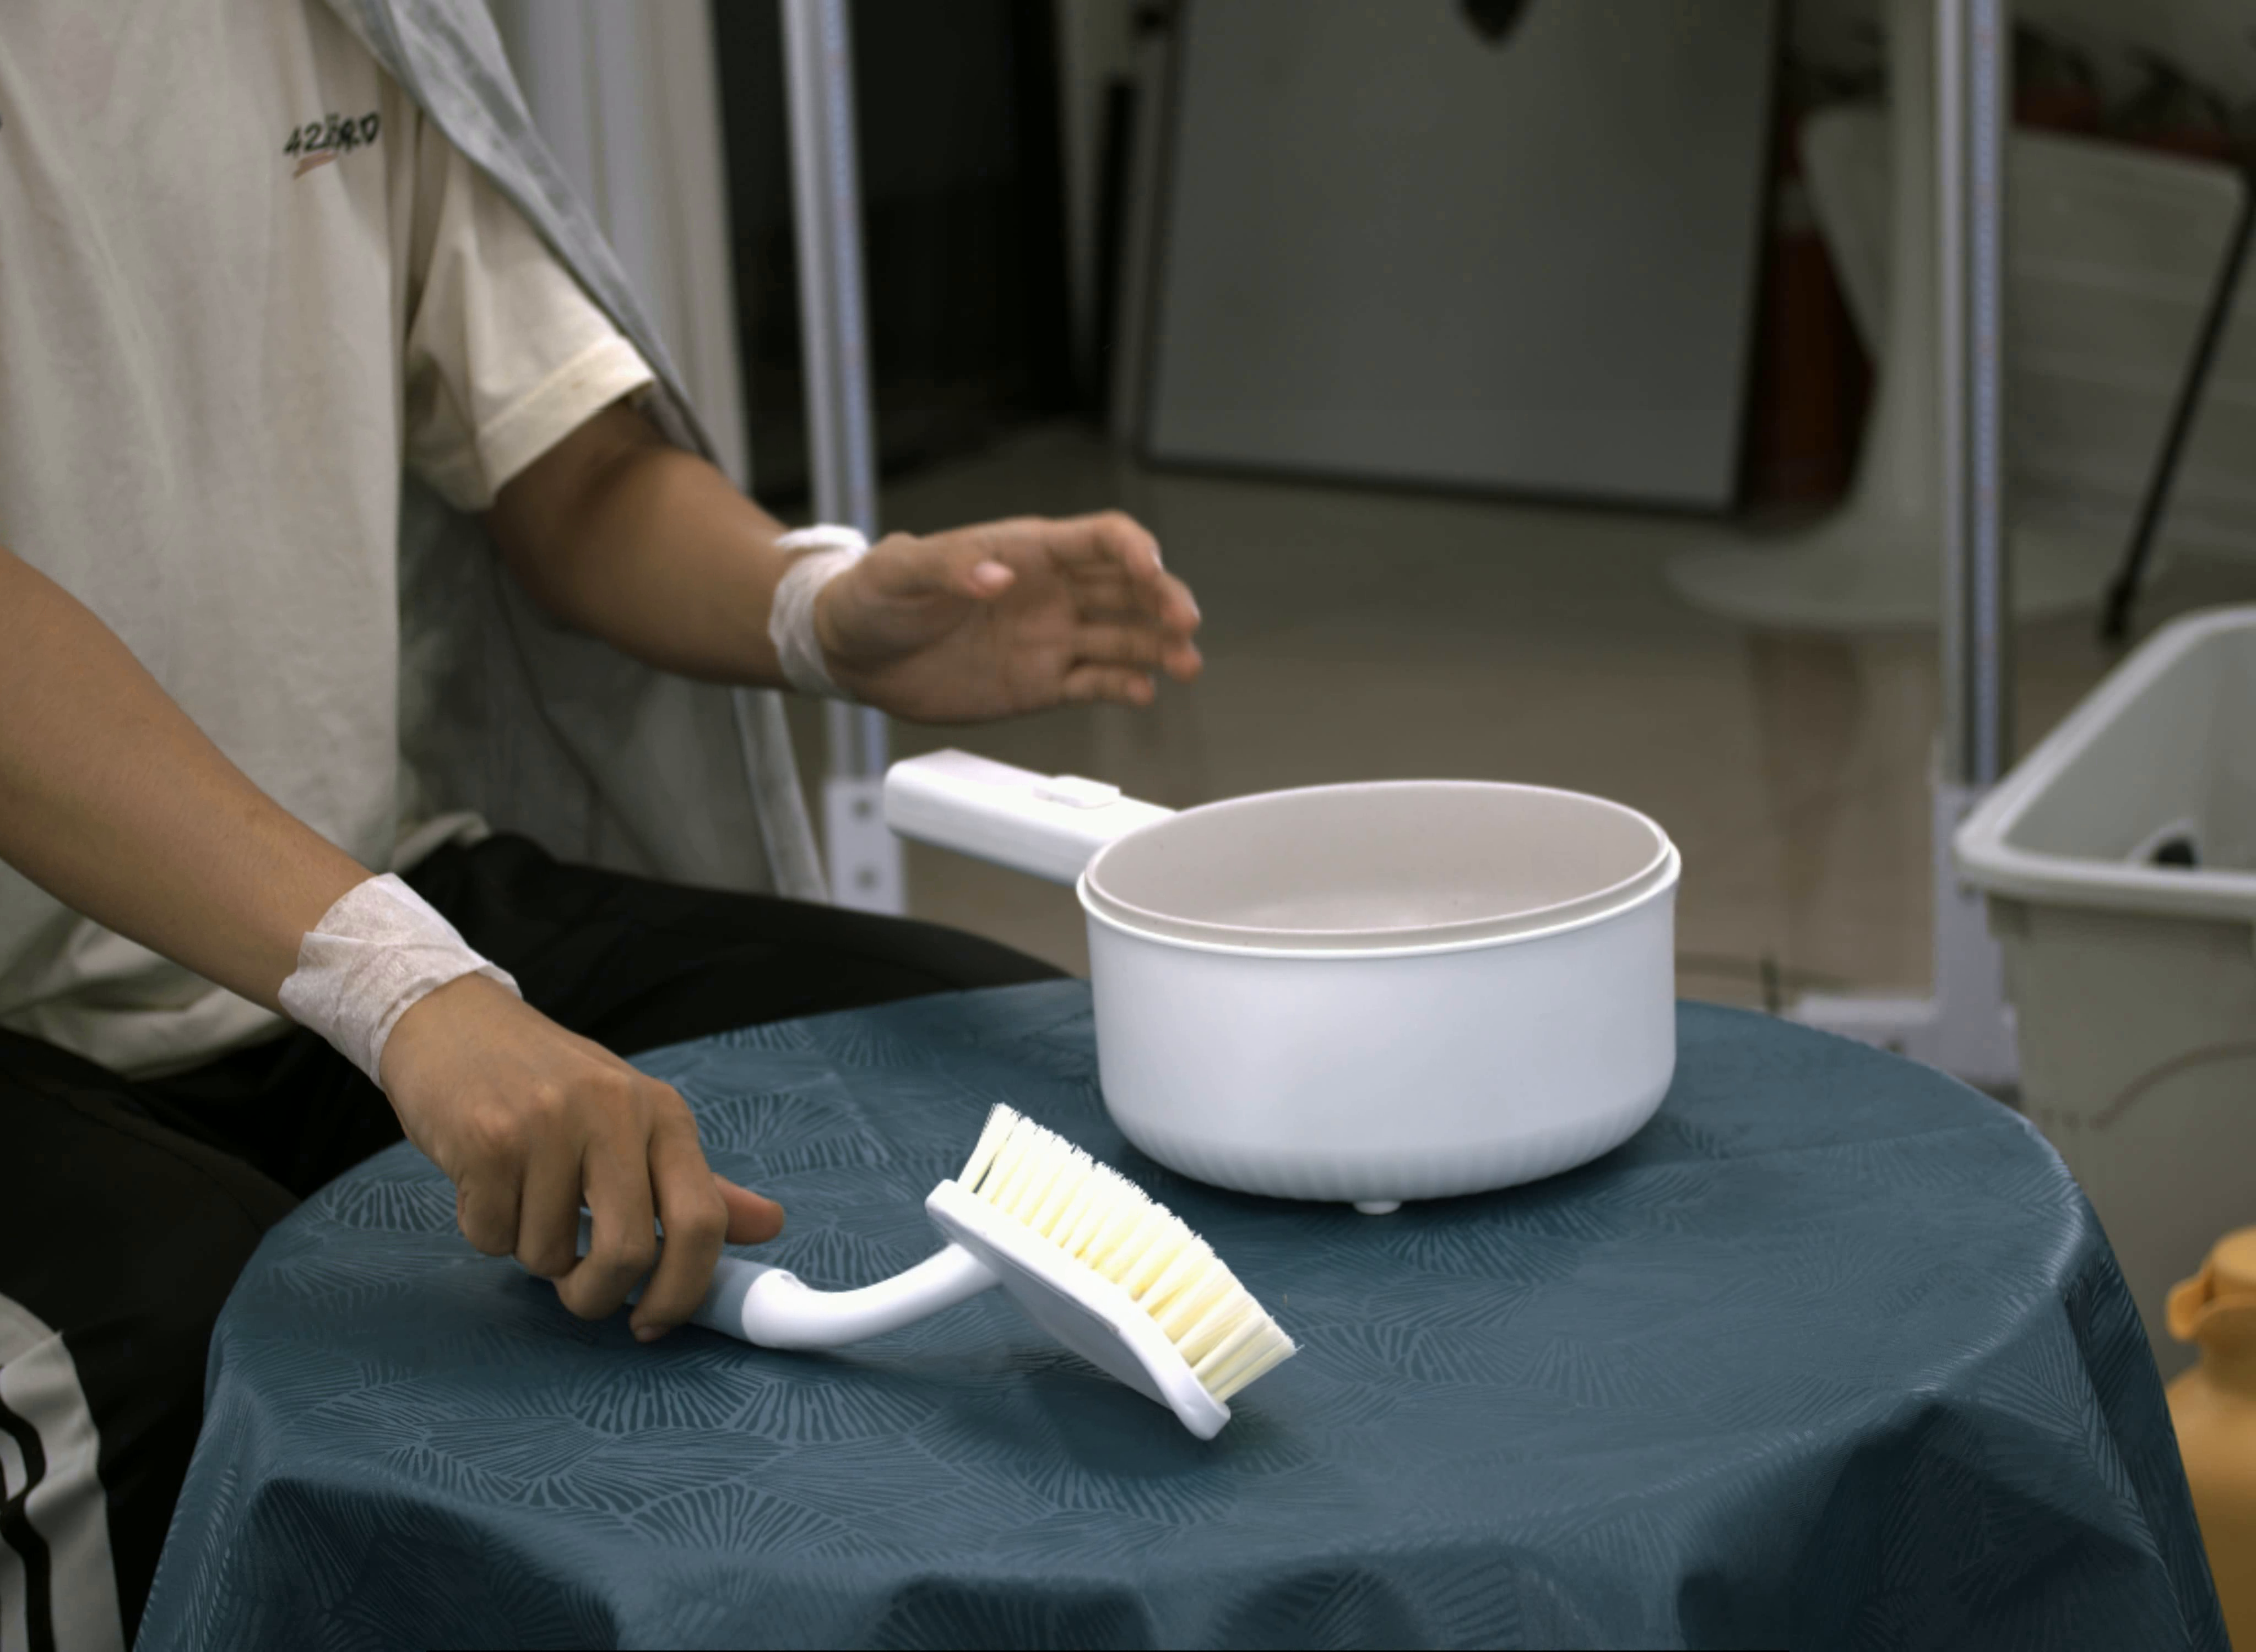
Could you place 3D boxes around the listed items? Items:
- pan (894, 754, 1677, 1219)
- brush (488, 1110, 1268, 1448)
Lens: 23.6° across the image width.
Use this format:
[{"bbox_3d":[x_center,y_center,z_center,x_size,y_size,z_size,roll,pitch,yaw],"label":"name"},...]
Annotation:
[{"bbox_3d":[0.038,0.047,1.856,0.197,0.103,0.358,-14,17,-36],"label":"pan"},{"bbox_3d":[-0.076,0.119,1.643,0.083,0.084,0.328,-16,18,-41],"label":"brush"}]
